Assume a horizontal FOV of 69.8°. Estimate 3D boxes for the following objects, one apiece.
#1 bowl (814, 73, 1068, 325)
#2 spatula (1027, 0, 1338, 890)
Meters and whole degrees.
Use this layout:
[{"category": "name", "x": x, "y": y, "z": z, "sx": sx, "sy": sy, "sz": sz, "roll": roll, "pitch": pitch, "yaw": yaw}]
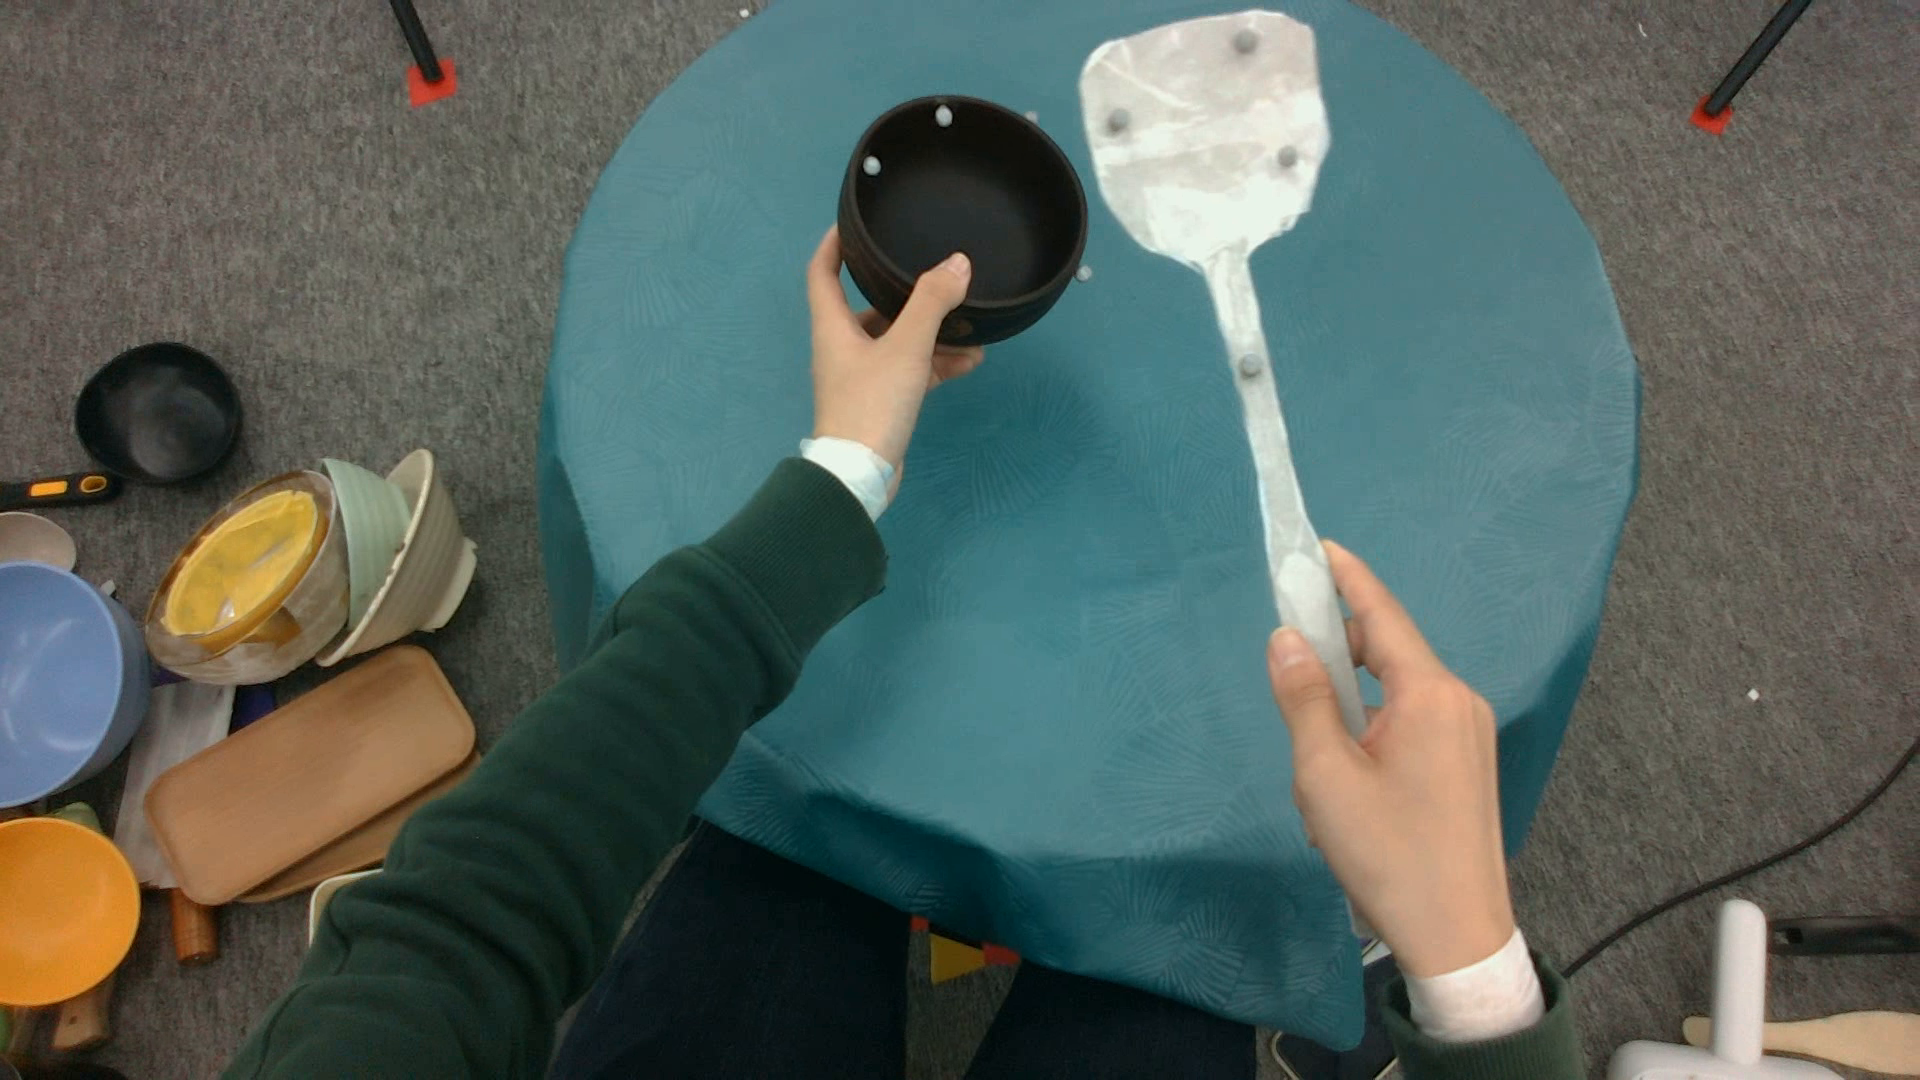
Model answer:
[{"category": "bowl", "x": -0.013, "y": -0.156, "z": 0.663, "sx": 0.118, "sy": 0.069, "sz": 0.118, "roll": 5, "pitch": 70, "yaw": -13}, {"category": "spatula", "x": 0.098, "y": -0.056, "z": 0.523, "sx": 0.099, "sy": 0.044, "sz": 0.366, "roll": -8, "pitch": 65, "yaw": 0}]
